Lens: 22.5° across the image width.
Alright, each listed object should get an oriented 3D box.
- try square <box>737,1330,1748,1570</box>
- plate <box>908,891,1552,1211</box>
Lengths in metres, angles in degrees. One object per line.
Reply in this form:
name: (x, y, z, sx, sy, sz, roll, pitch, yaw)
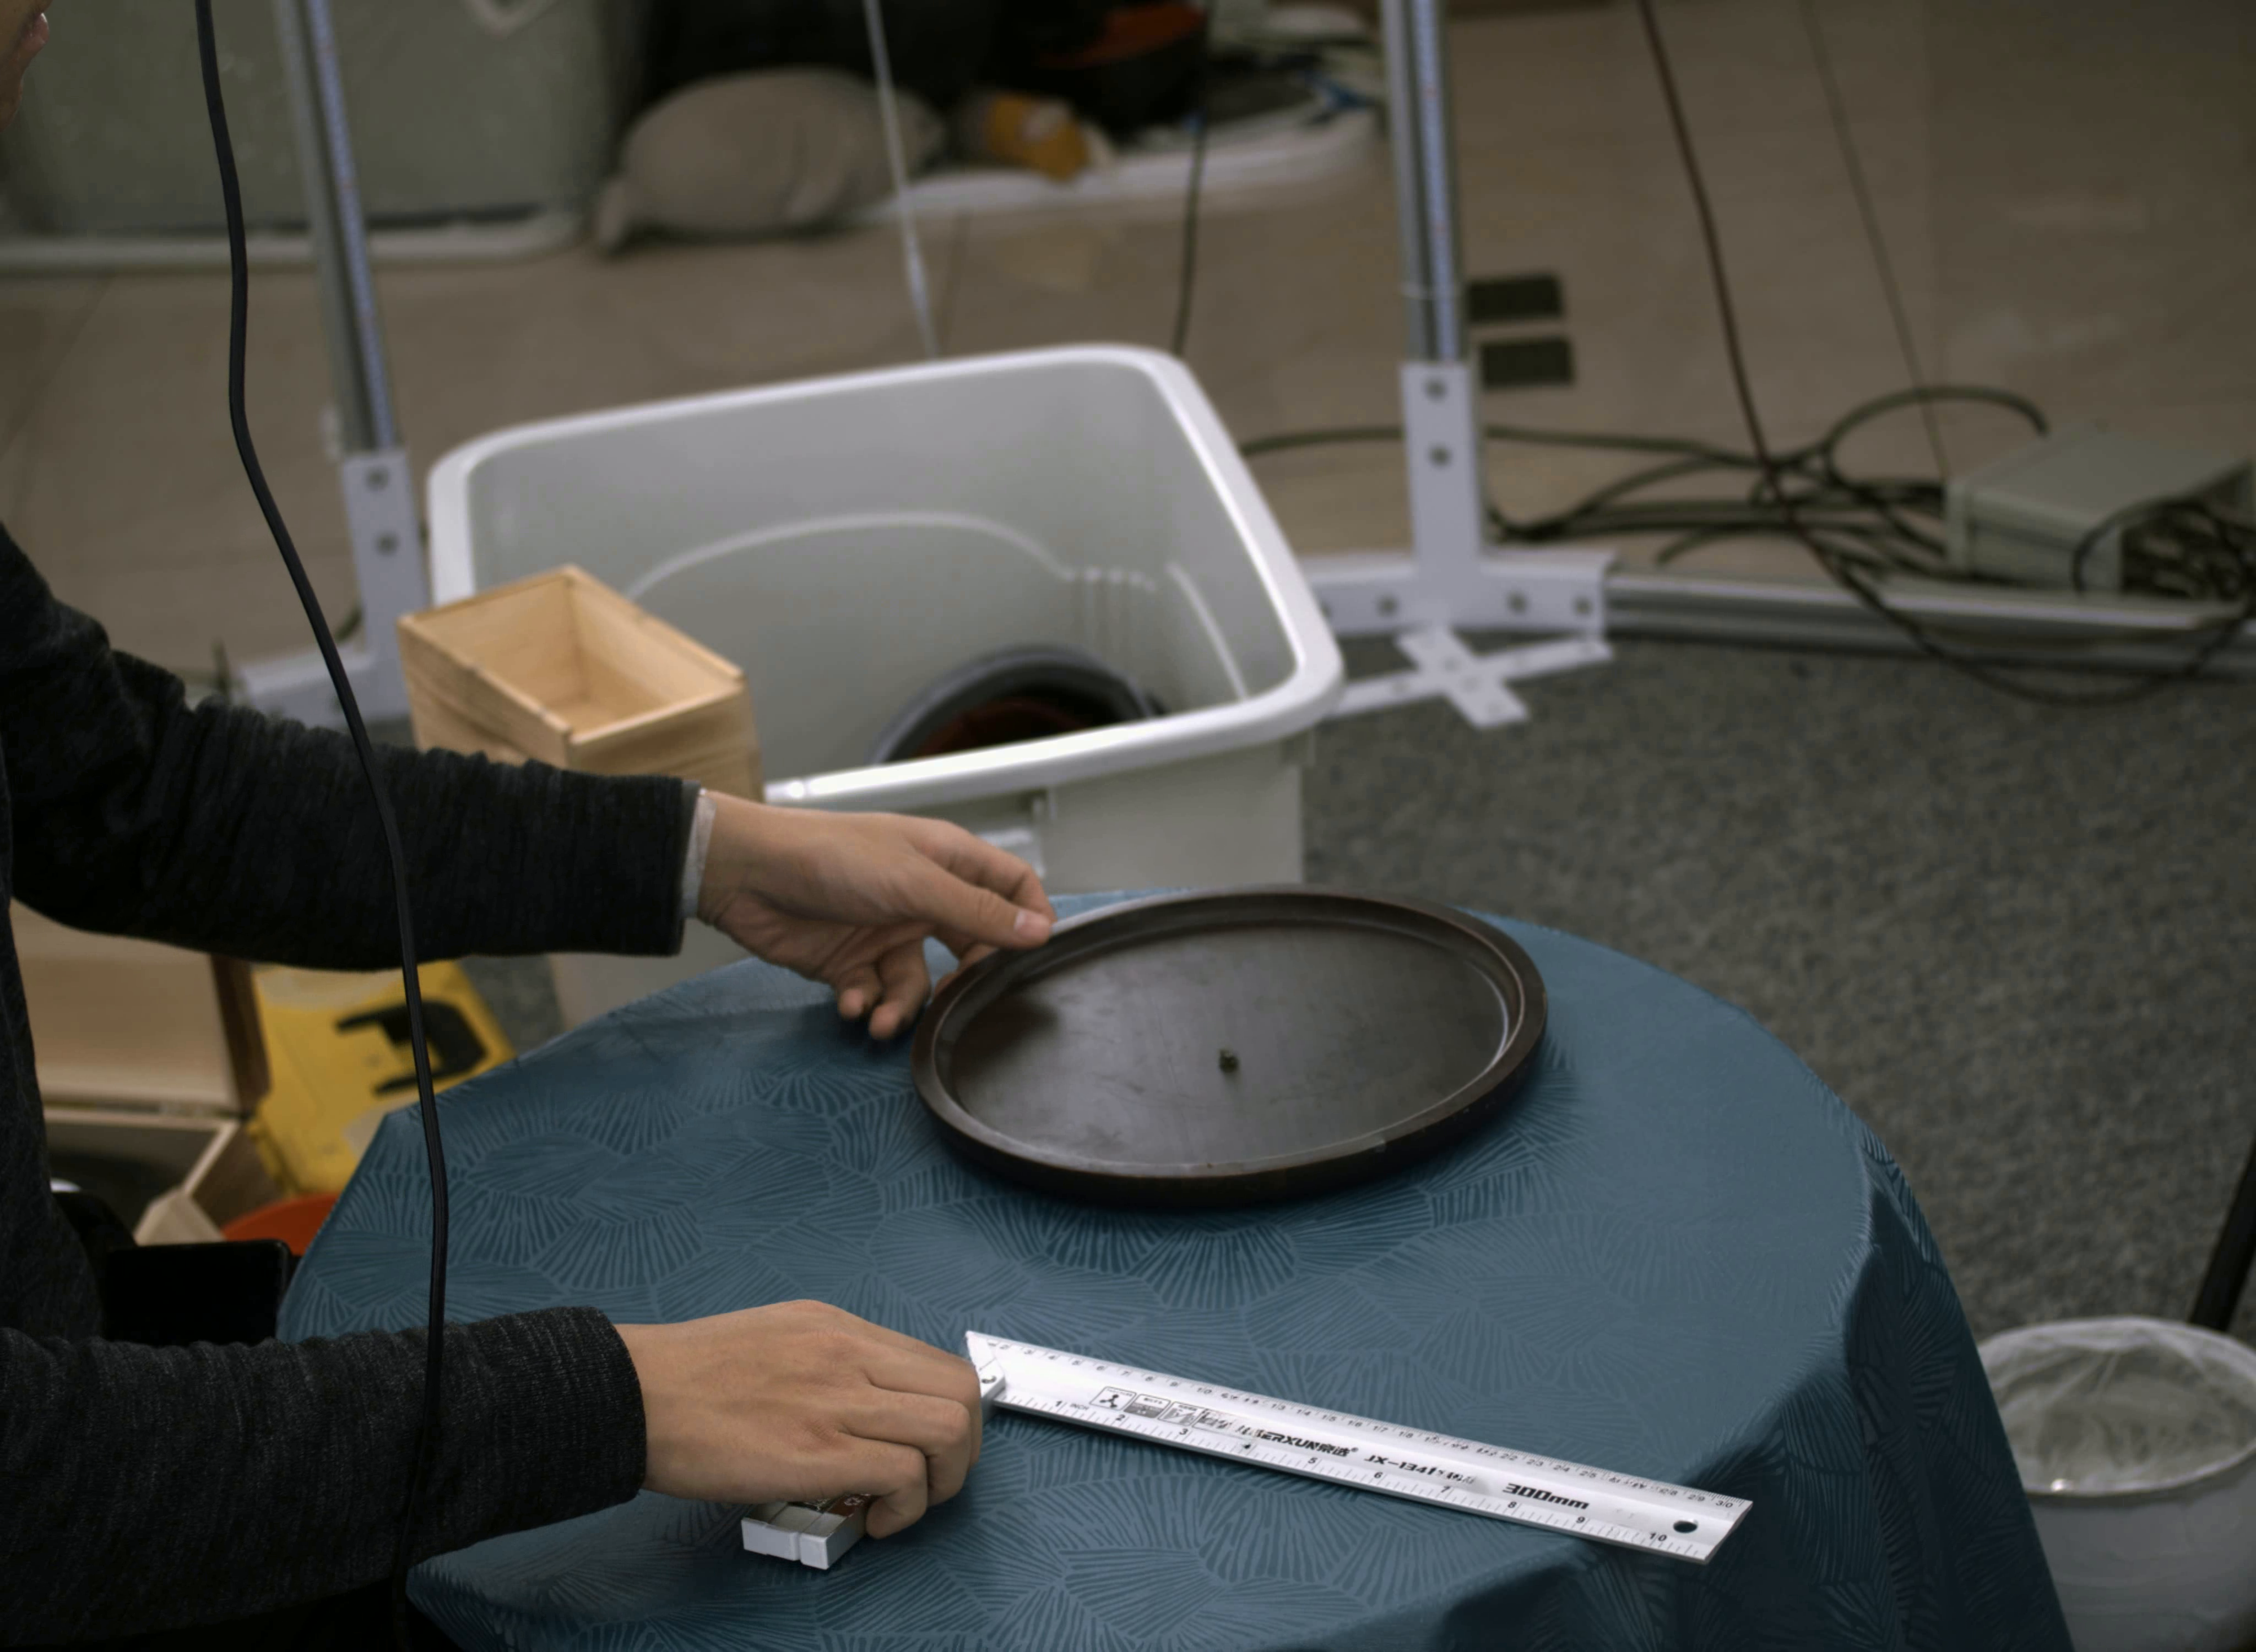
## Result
try square: (0.036, 0.234, 1.925, 0.311, 0.016, 0.150, 9, 29, 29)
plate: (0.040, 0.086, 2.224, 0.254, 0.029, 0.251, -5, 26, 2)
